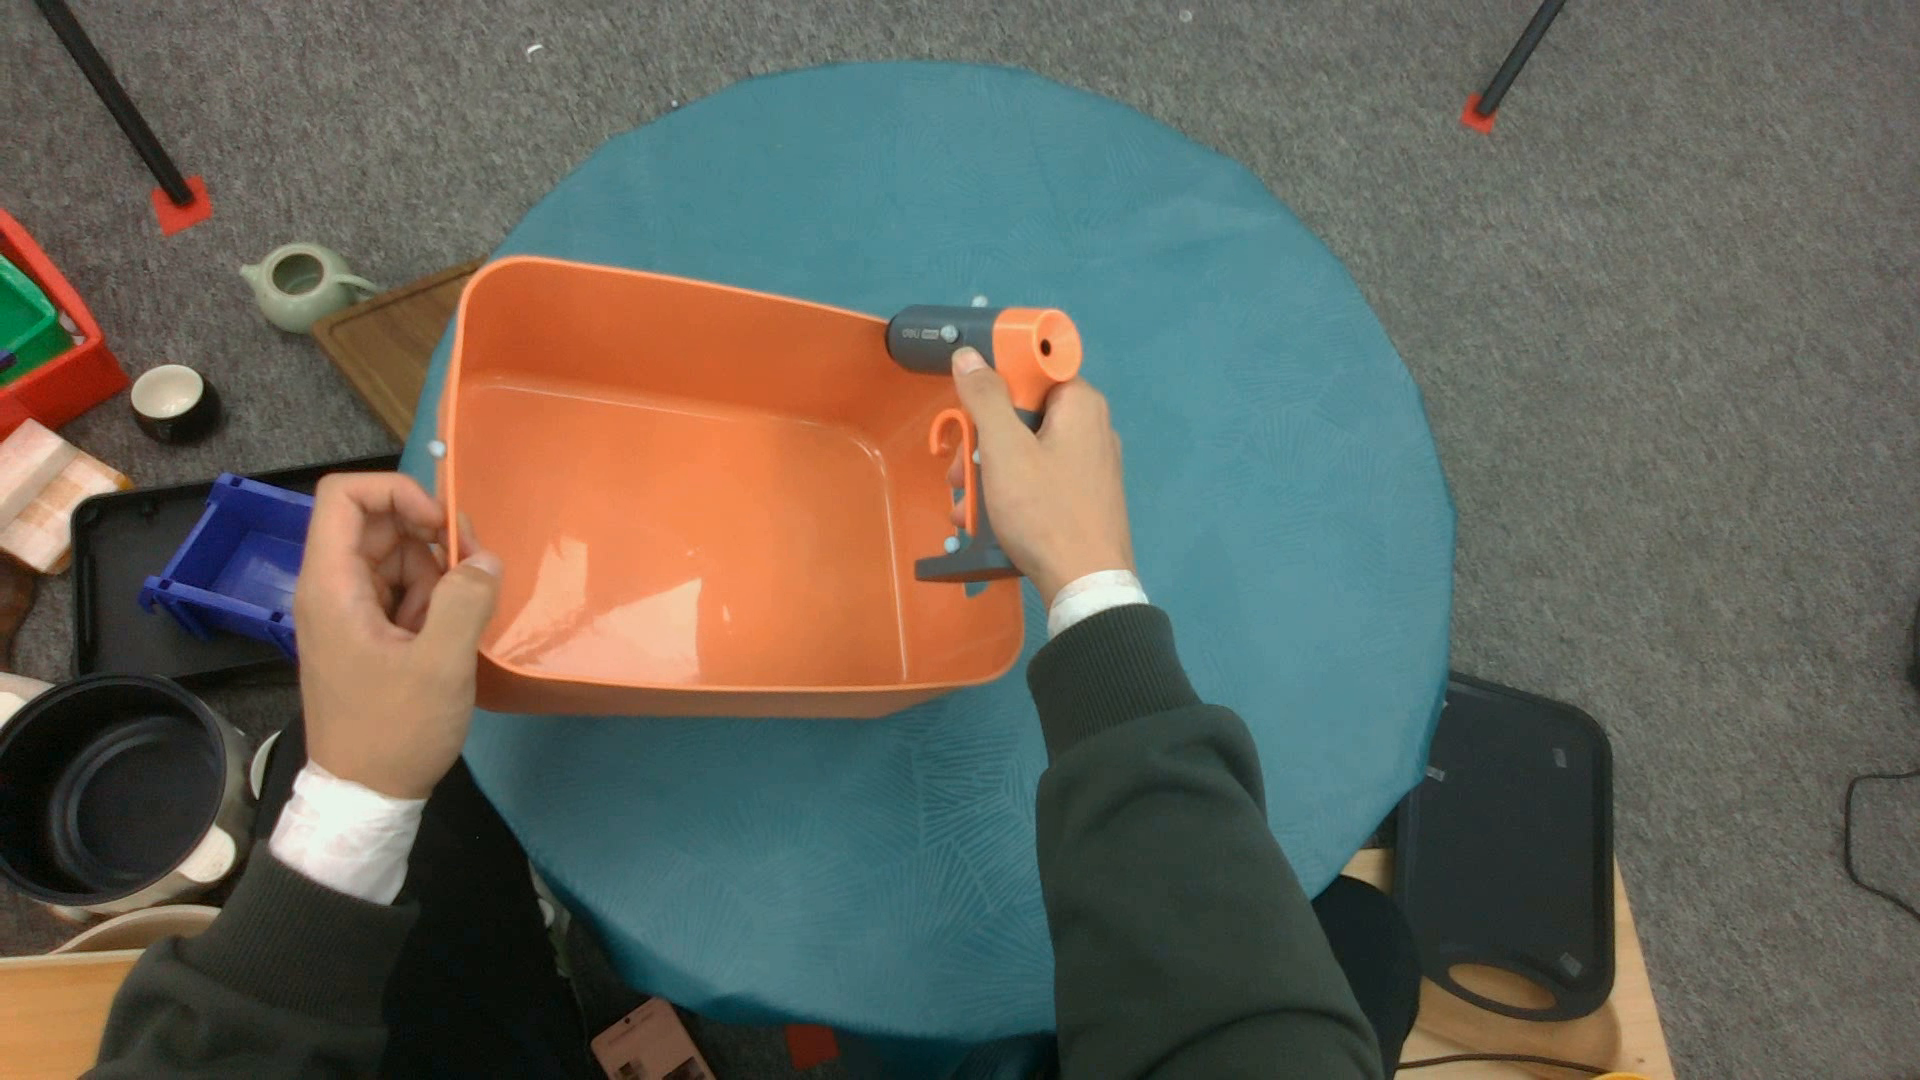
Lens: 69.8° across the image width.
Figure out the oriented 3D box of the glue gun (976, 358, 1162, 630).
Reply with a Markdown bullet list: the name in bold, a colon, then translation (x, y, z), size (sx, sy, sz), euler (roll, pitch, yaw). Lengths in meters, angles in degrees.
- **glue gun**: translation (0.047, -0.029, 0.668), size (0.041, 0.117, 0.140), euler (7, 77, -36)

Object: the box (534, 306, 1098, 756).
- **box**: translation (-0.074, 0.010, 0.685), size (0.274, 0.102, 0.200), euler (7, 65, -28)
